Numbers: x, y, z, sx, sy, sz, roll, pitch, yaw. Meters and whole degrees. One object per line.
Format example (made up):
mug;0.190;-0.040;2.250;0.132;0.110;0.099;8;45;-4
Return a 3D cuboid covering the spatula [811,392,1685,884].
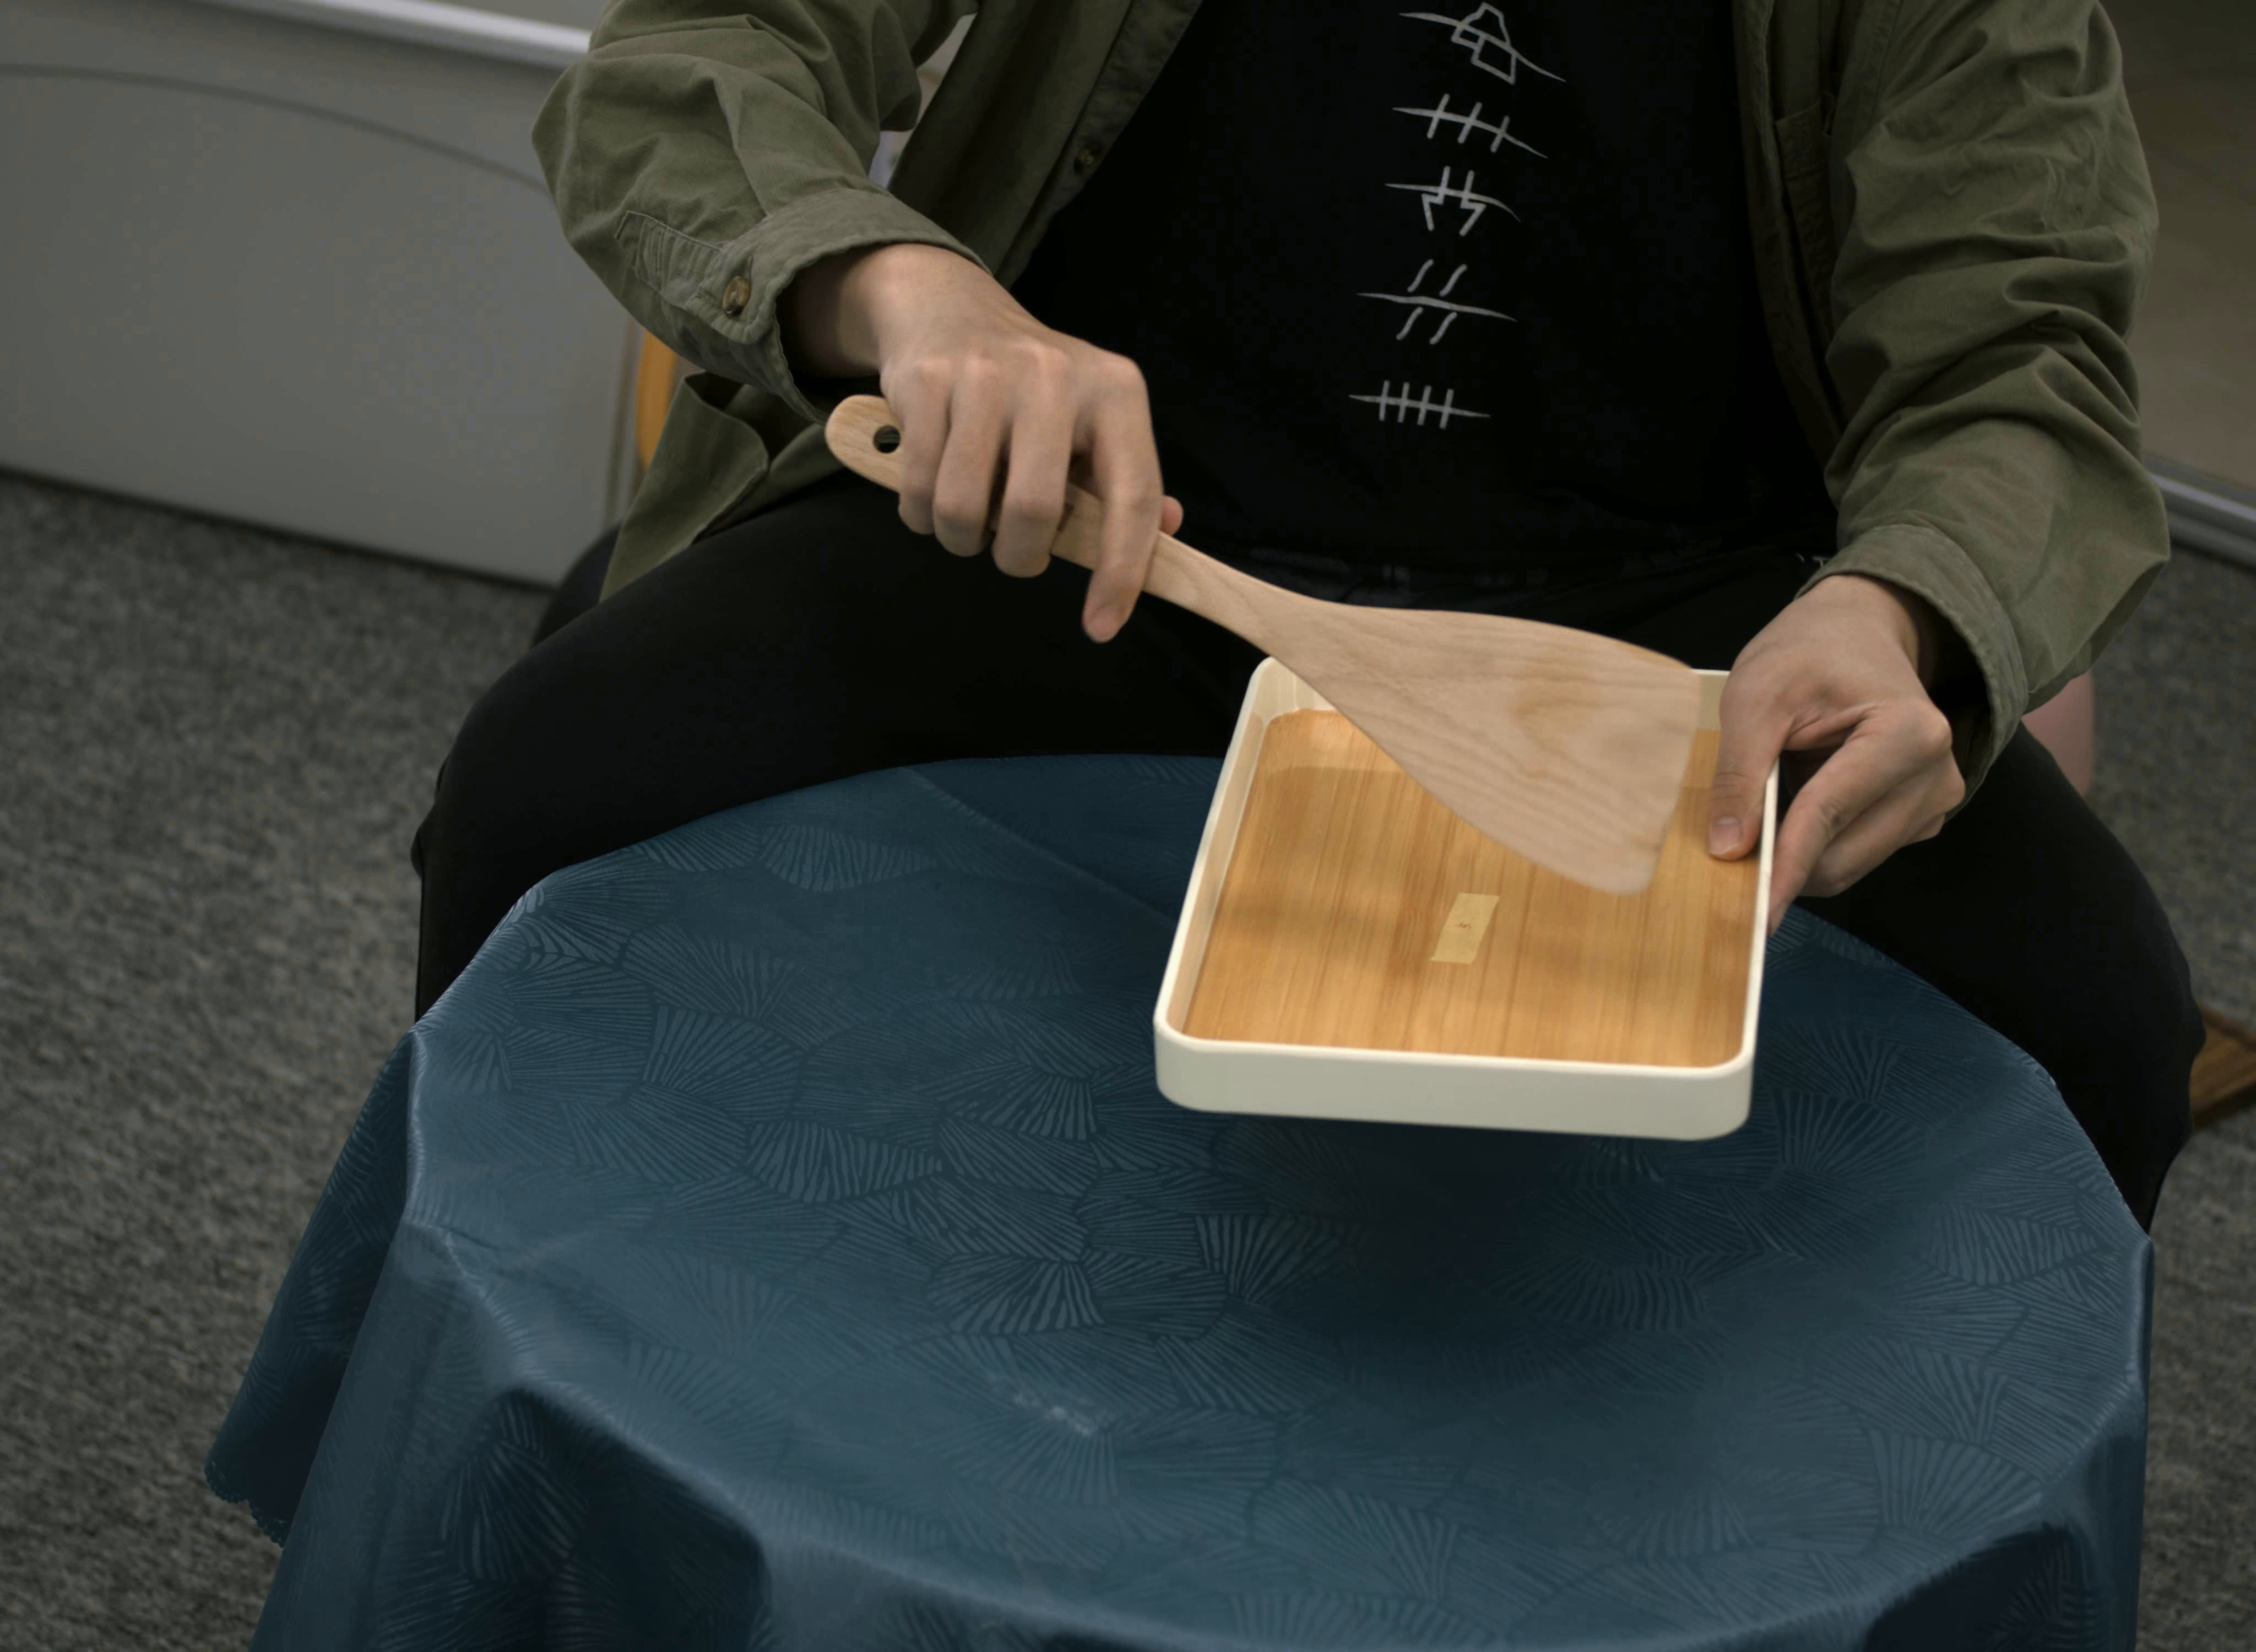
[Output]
spatula;0.035;-0.077;1.755;0.329;0.080;0.016;24;1;18

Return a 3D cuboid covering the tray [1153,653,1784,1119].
tray;0.121;0.013;1.795;0.191;0.027;0.301;4;25;8
